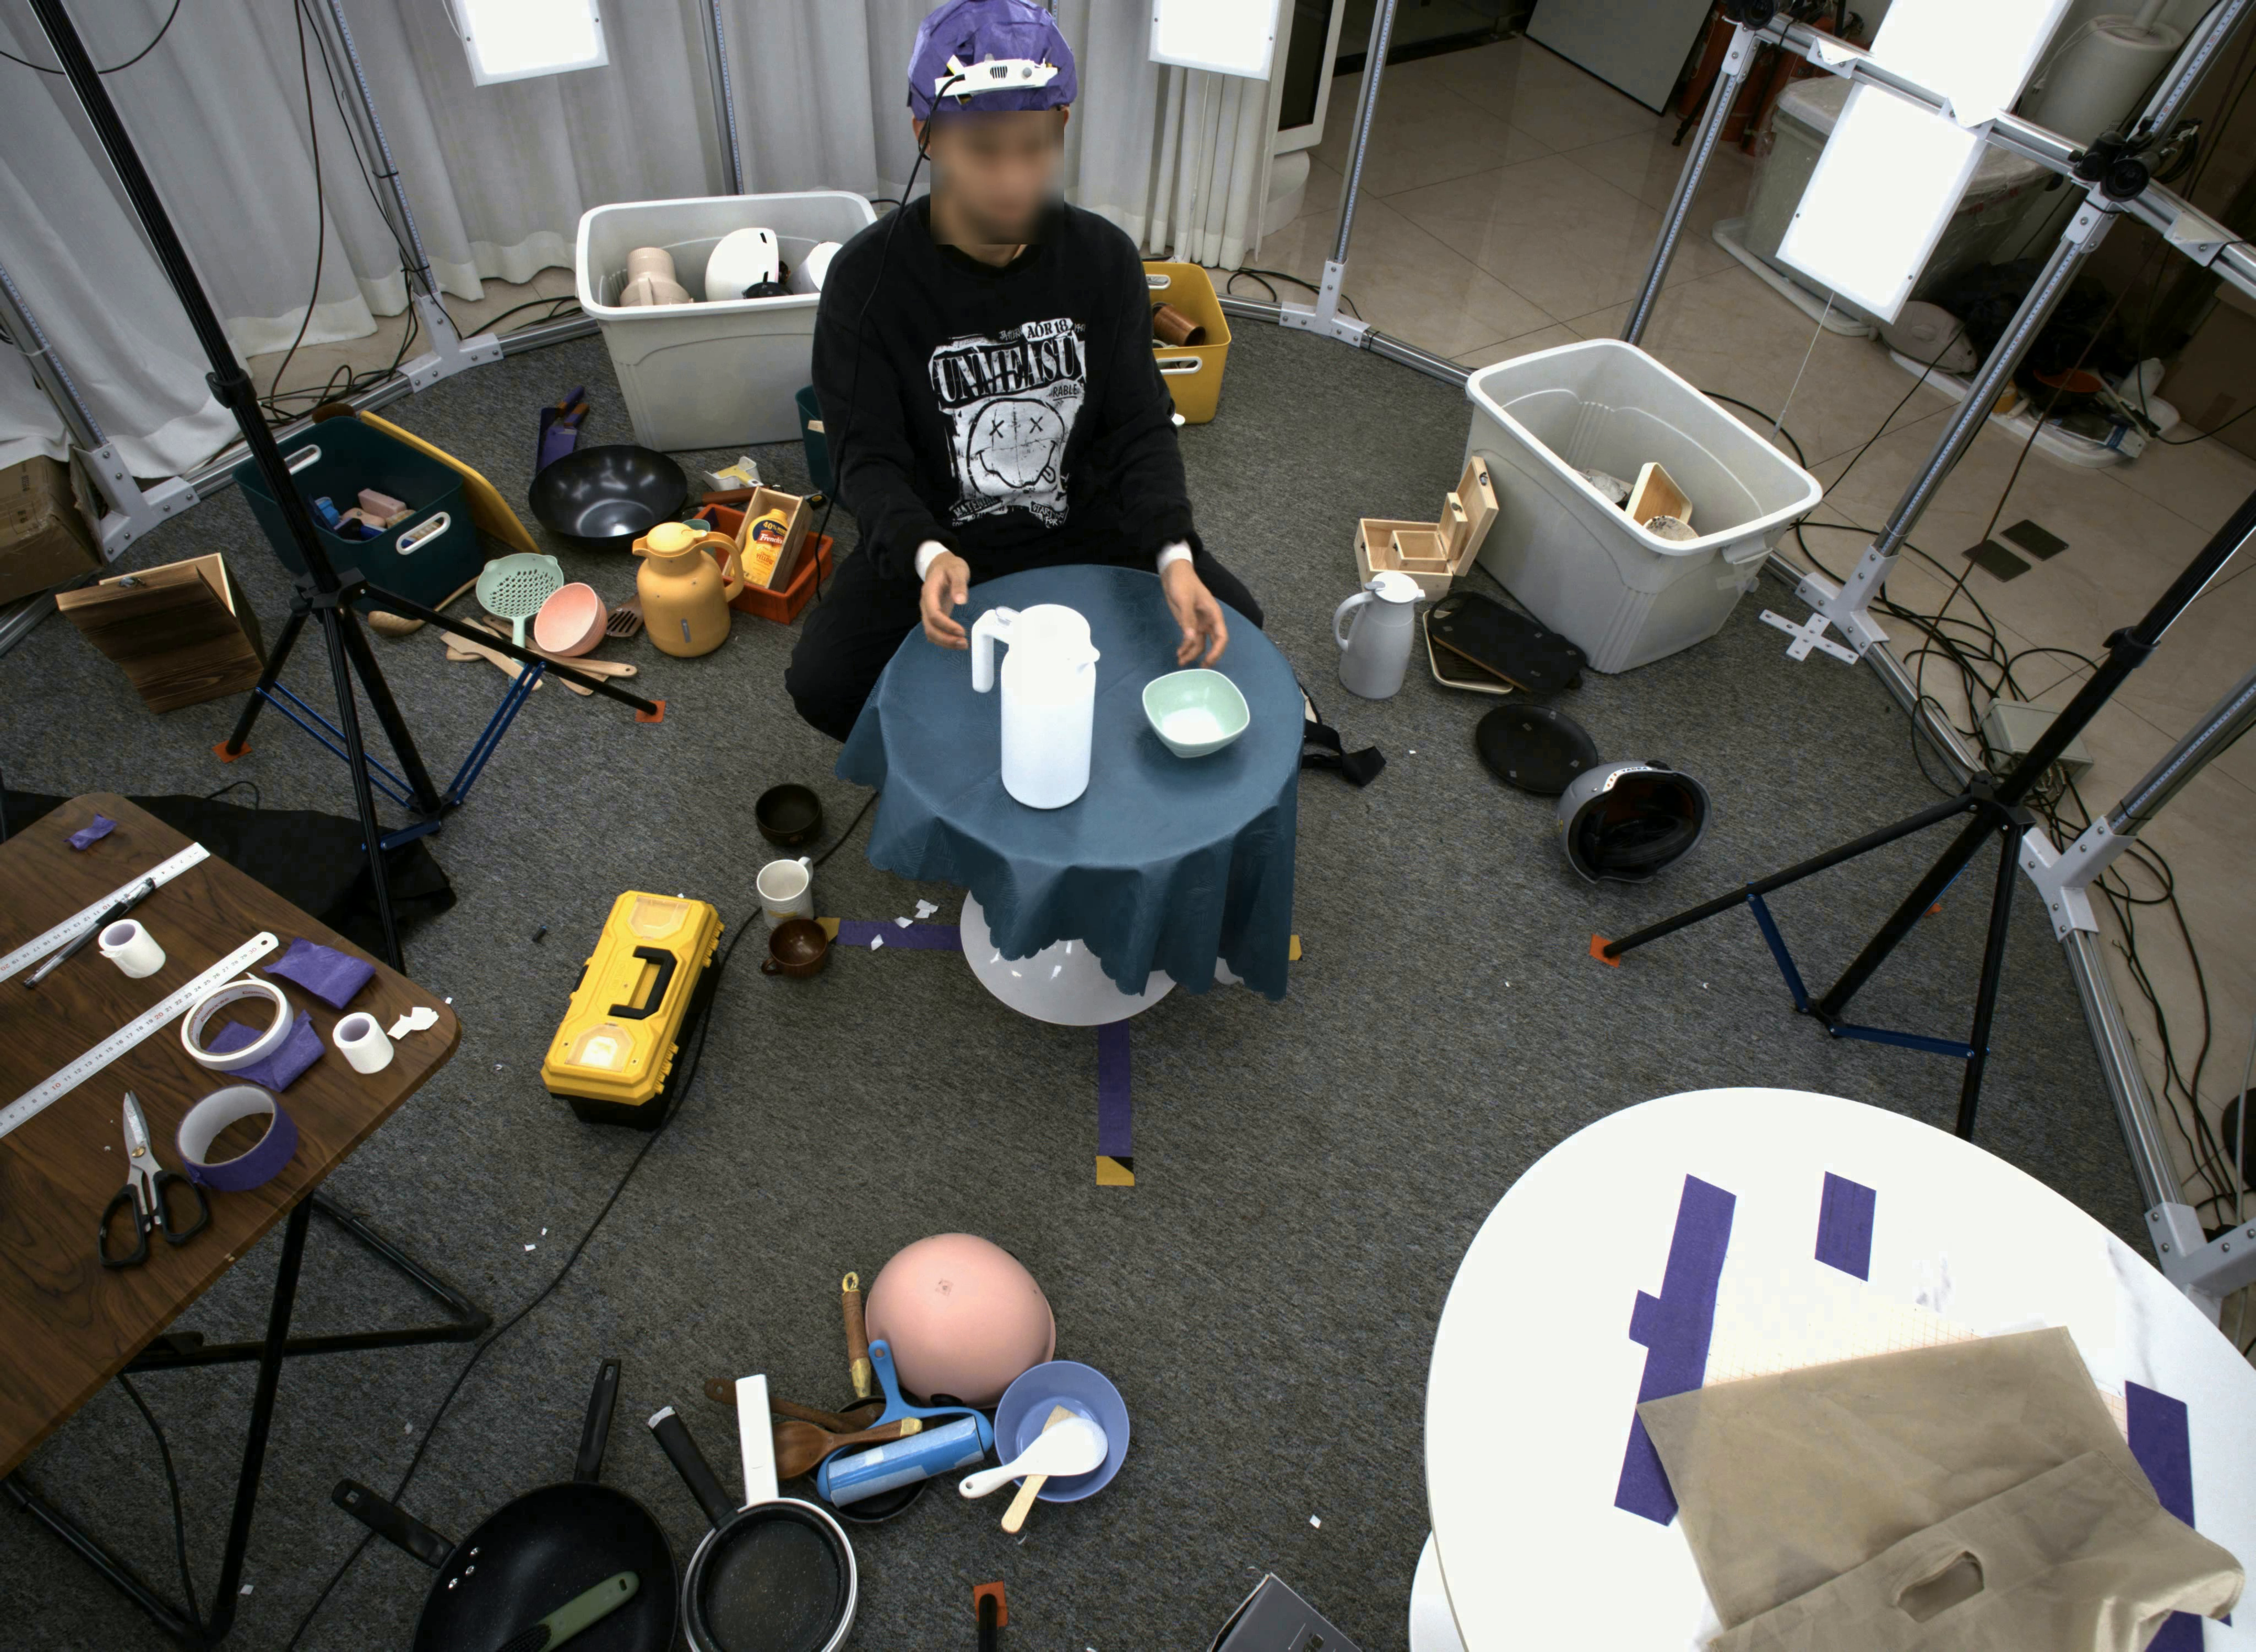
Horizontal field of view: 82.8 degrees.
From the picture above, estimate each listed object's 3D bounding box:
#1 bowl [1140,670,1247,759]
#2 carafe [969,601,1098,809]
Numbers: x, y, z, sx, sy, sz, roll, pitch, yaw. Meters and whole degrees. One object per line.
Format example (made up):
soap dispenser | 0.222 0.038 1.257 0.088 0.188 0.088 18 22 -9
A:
bowl | 0.088 -0.145 1.766 0.151 0.057 0.155 2 49 -2
carafe | -0.120 -0.153 1.623 0.174 0.262 0.126 24 54 16
